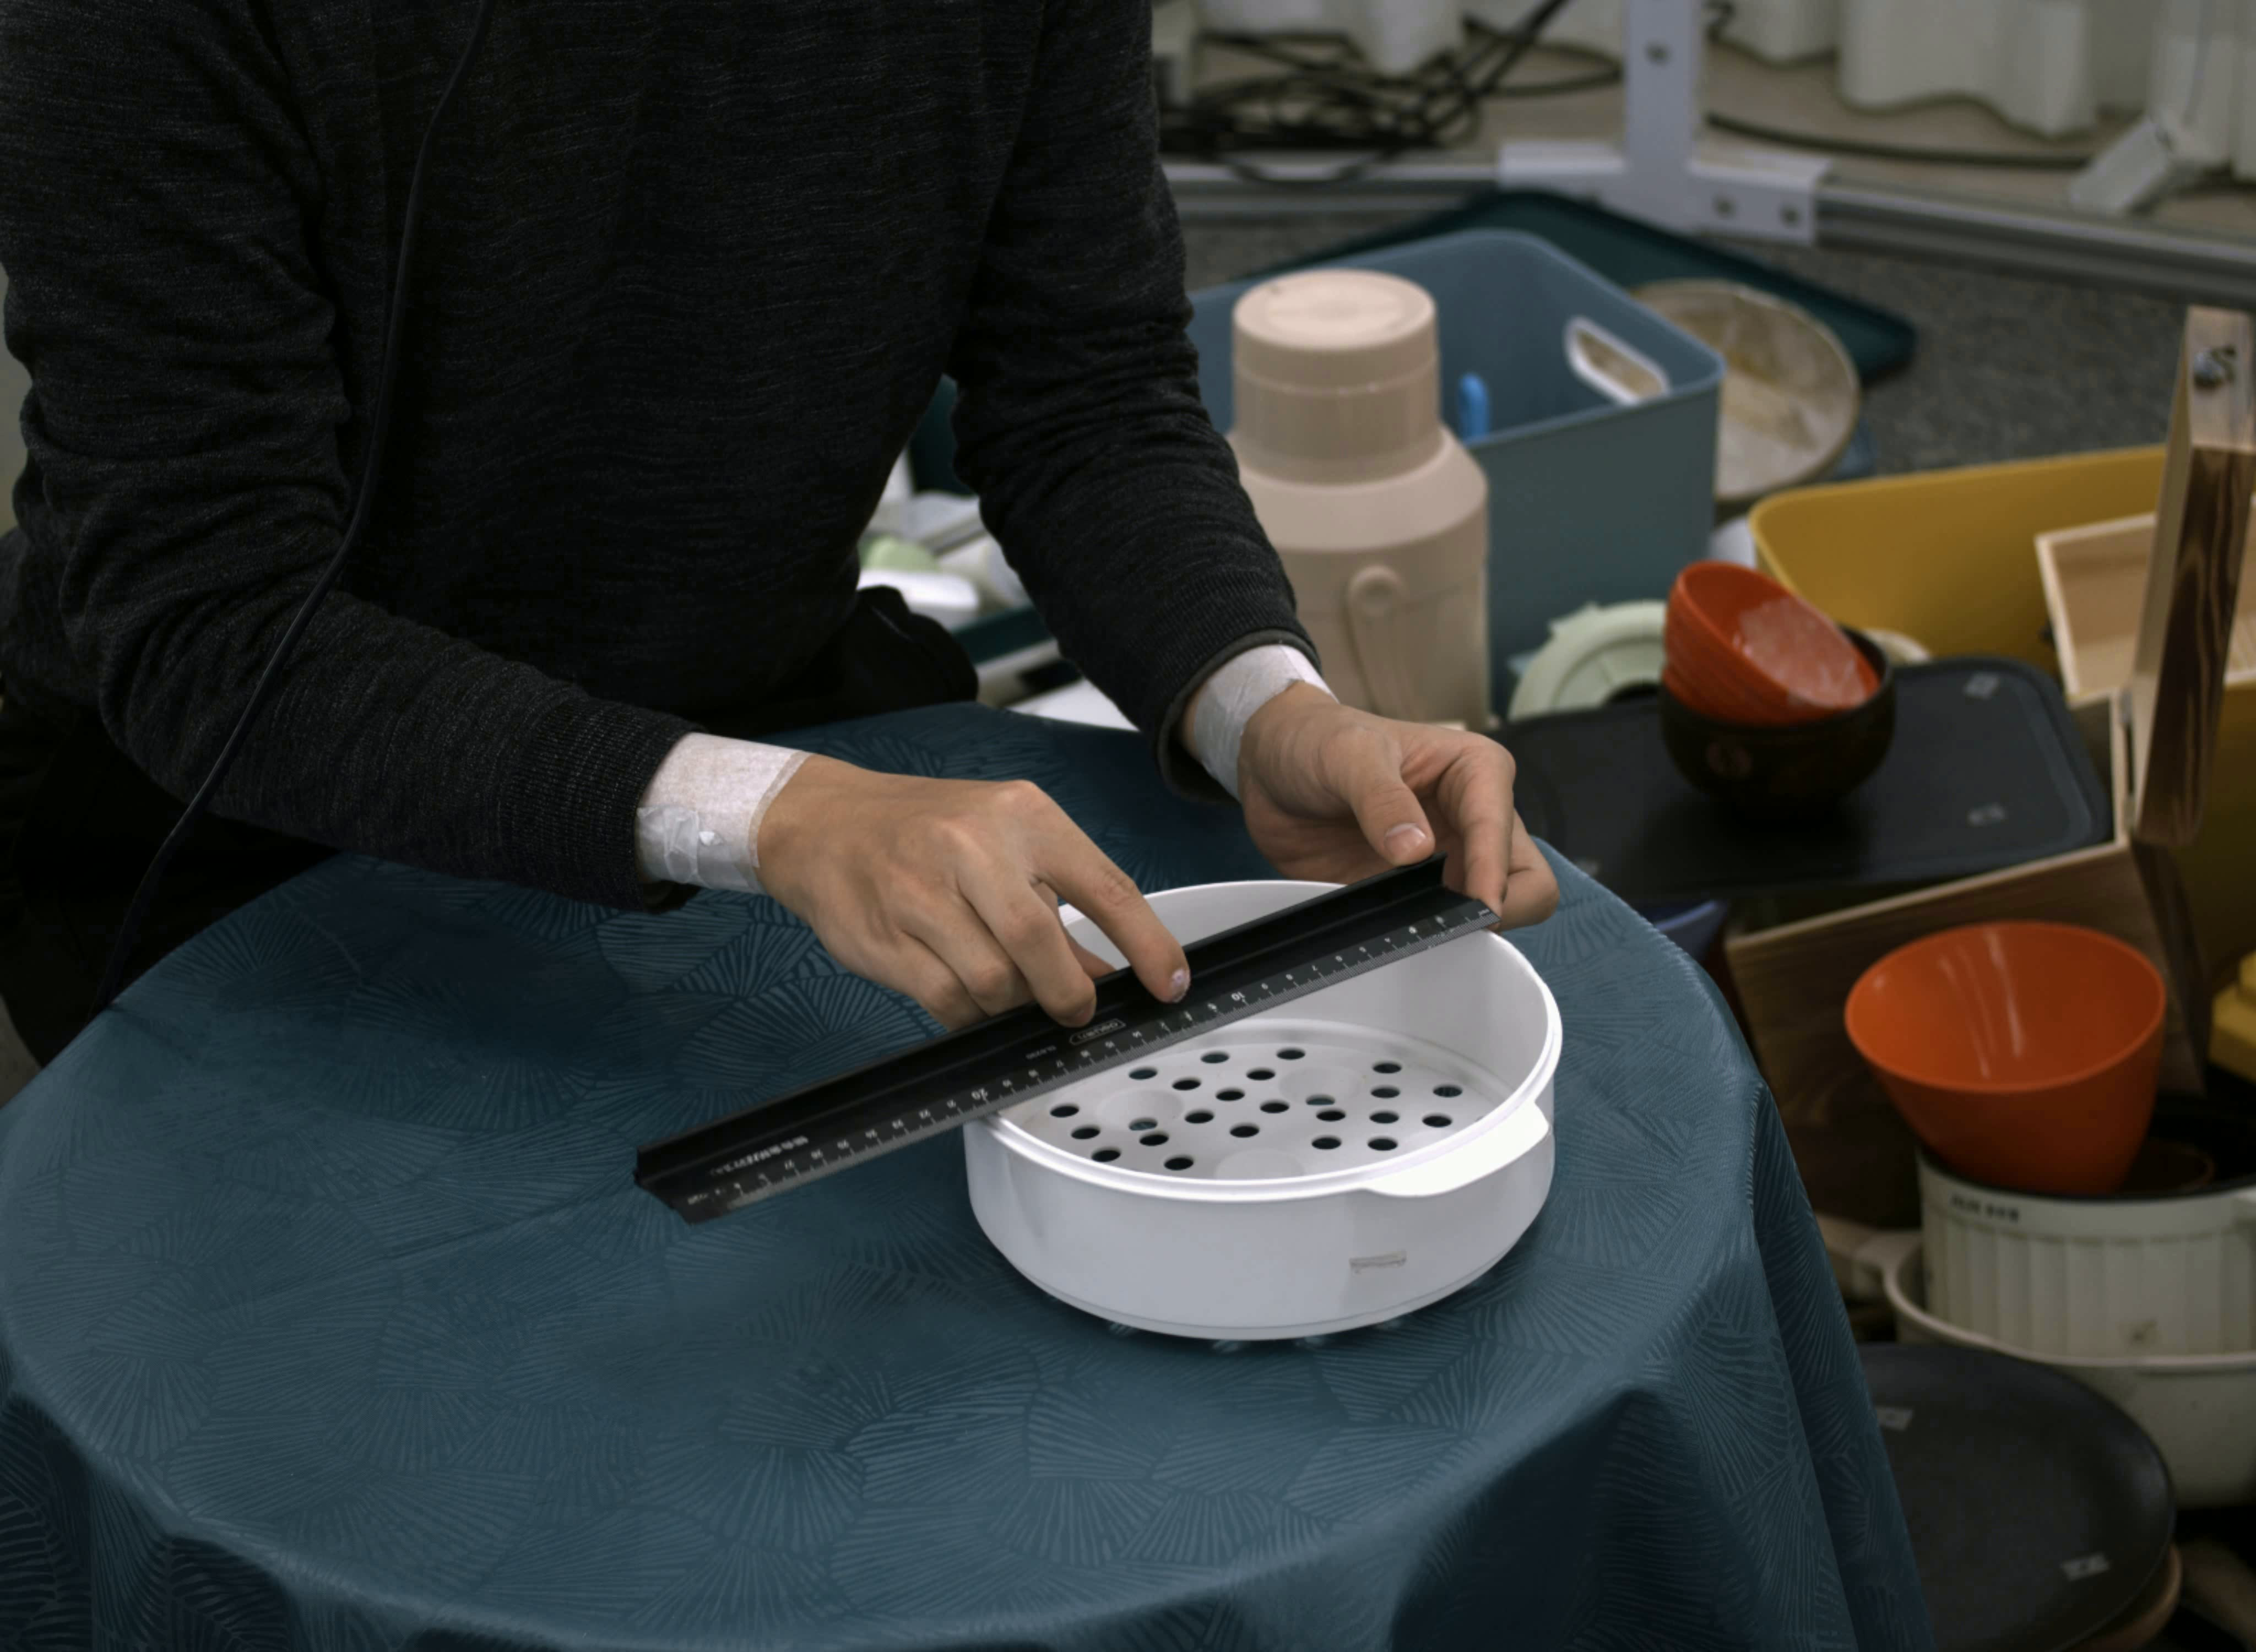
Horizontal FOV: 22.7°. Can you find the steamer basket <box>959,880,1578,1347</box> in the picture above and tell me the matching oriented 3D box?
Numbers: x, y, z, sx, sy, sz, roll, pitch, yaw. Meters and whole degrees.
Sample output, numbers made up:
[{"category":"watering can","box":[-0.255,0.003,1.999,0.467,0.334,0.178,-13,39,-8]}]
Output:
[{"category":"steamer basket","box":[0.046,0.094,1.835,0.204,0.068,0.231,-23,36,-34]}]

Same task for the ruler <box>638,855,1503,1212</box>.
[{"category":"ruler","box":[-0.015,0.064,1.808,0.315,0.017,0.039,-19,30,-29]}]
